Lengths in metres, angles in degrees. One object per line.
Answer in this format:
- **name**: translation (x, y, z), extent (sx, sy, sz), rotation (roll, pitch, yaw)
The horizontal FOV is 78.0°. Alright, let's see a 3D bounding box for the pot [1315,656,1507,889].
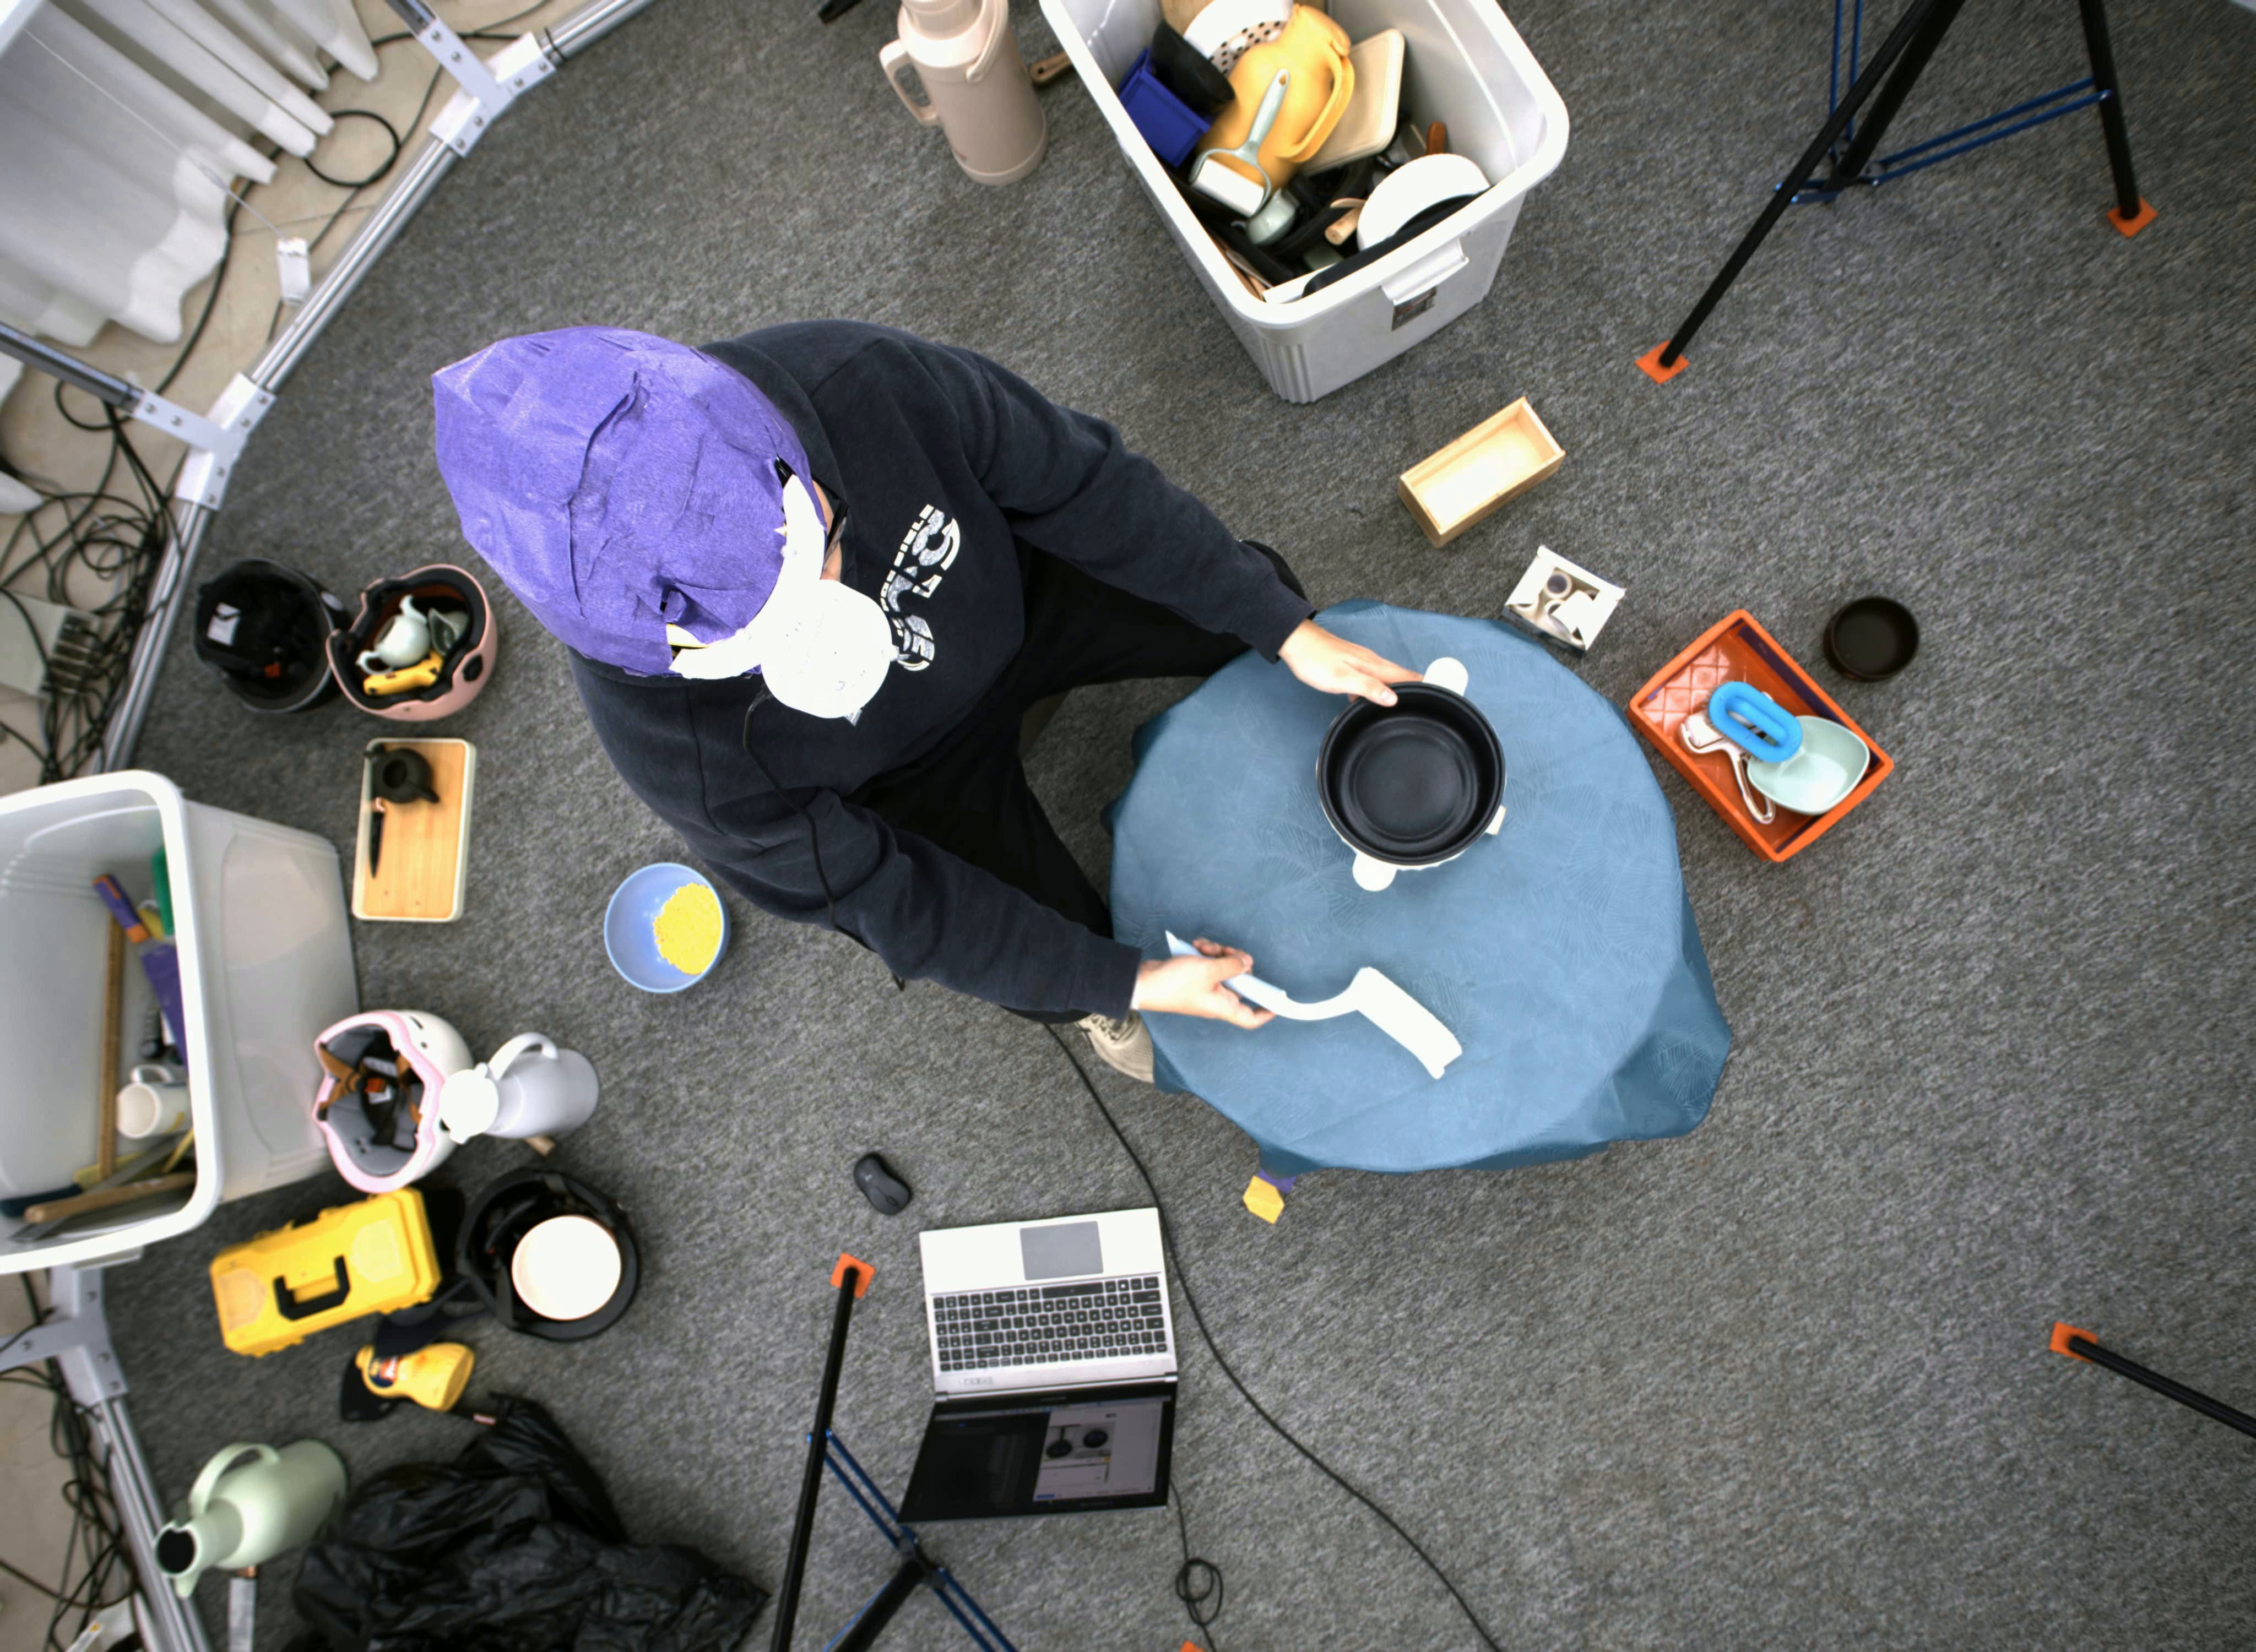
- **pot**: translation (0.290, -0.045, 1.394), extent (0.190, 0.142, 0.240), rotation (20, 91, 15)

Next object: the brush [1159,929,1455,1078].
- **brush**: translation (0.190, 0.153, 1.415), extent (0.325, 0.085, 0.082), rotation (26, 51, 1)
